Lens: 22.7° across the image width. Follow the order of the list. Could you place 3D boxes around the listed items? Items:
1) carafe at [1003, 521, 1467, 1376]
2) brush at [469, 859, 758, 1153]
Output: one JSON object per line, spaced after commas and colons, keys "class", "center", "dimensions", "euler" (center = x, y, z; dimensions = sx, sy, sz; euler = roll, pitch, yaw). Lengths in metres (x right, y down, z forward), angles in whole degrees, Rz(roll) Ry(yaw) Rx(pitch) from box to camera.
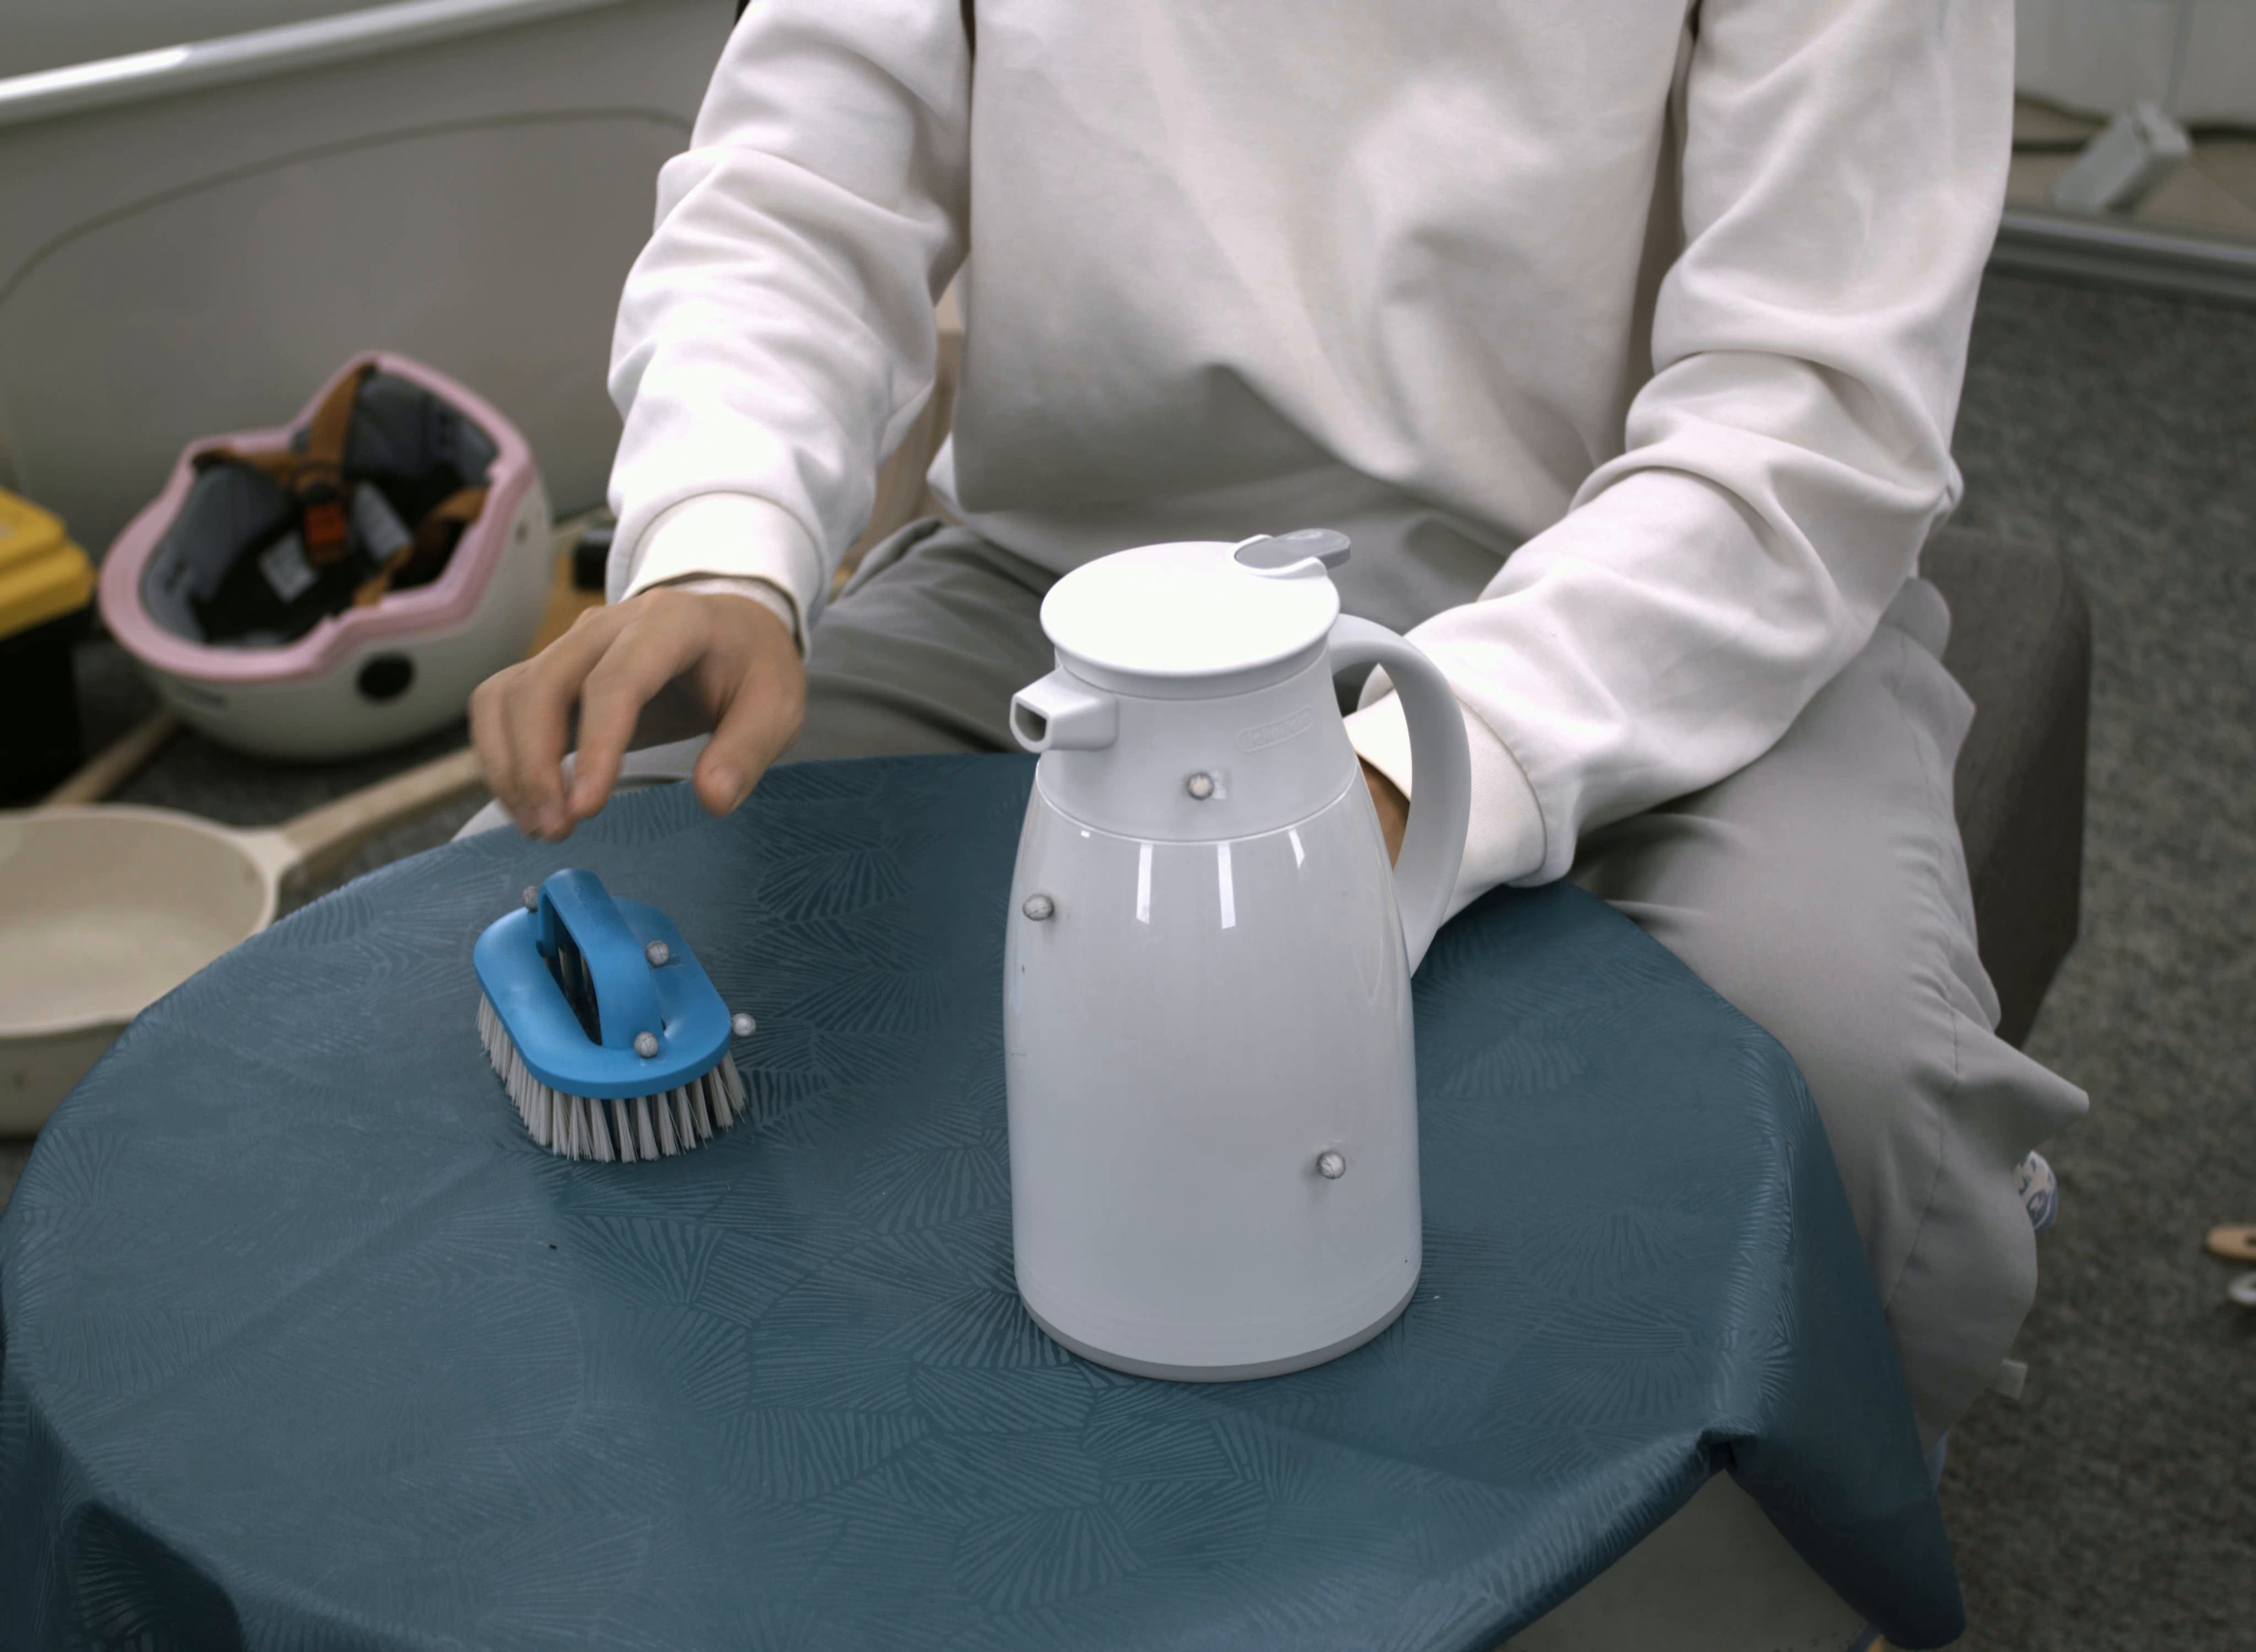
{"class": "carafe", "center": [0.038, 0.027, 1.776], "dimensions": [0.169, 0.246, 0.132], "euler": [-21, 32, -34]}
{"class": "brush", "center": [-0.182, 0.054, 1.941], "dimensions": [0.084, 0.063, 0.143], "euler": [-15, 29, -13]}
